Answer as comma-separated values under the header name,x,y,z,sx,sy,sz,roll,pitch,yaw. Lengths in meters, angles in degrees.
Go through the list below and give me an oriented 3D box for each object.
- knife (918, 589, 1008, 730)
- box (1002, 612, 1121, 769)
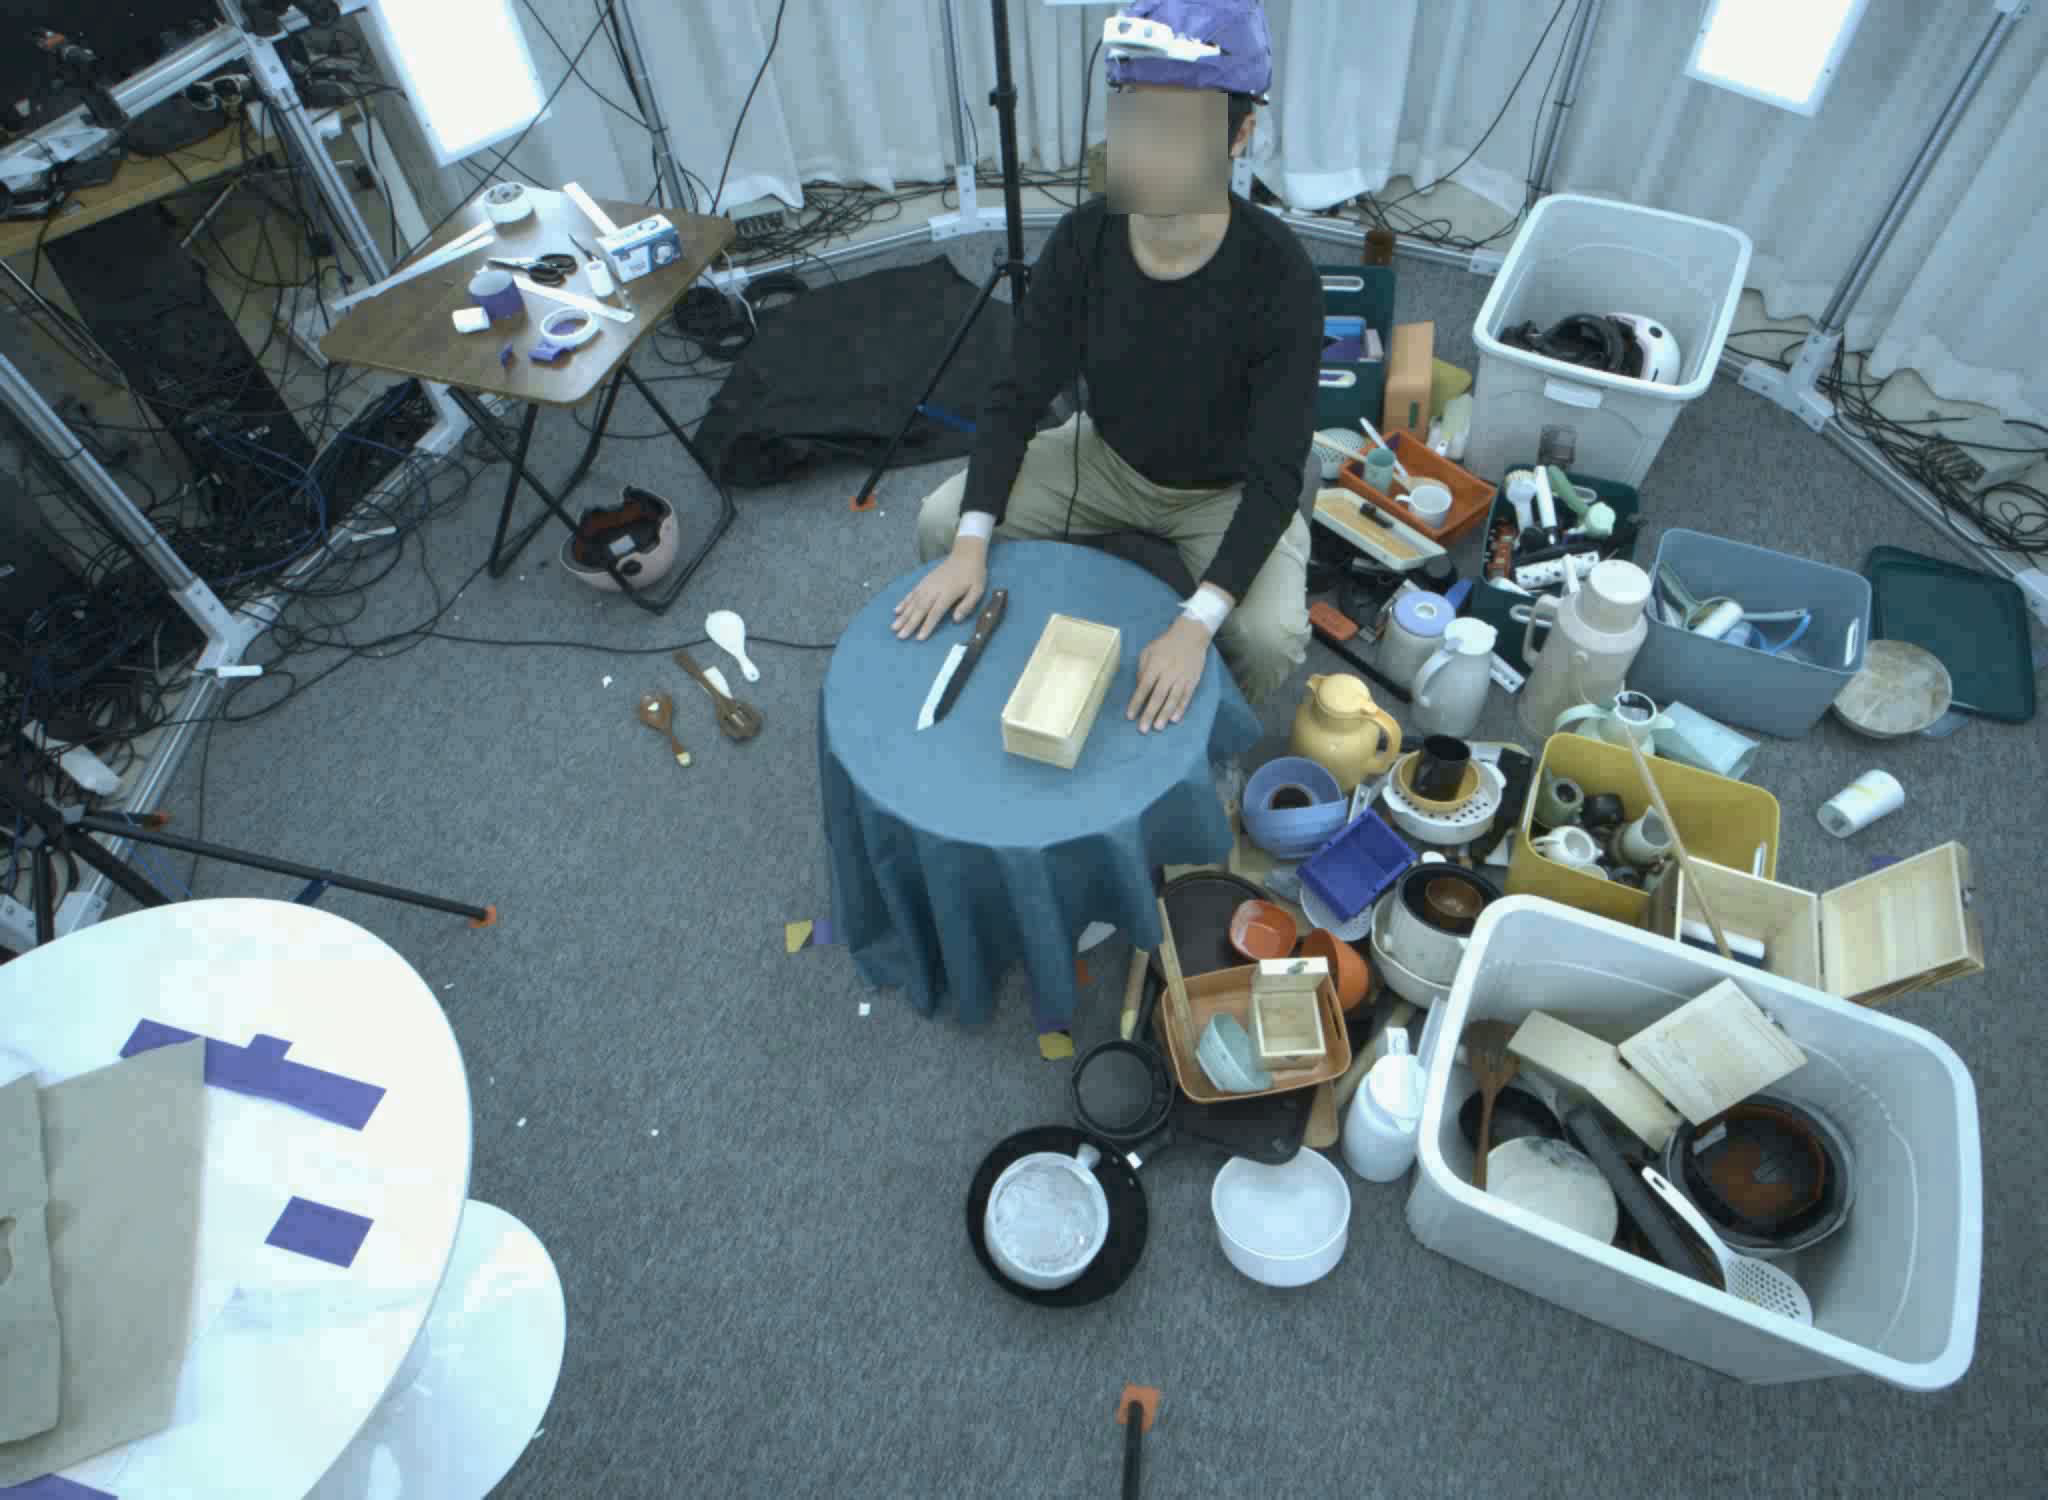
name,x,y,z,sx,sy,sz,roll,pitch,yaw
knife,-0.092,-0.141,1.882,0.049,0.020,0.289,17,60,20
box,0.058,-0.089,1.800,0.106,0.081,0.211,16,58,13
